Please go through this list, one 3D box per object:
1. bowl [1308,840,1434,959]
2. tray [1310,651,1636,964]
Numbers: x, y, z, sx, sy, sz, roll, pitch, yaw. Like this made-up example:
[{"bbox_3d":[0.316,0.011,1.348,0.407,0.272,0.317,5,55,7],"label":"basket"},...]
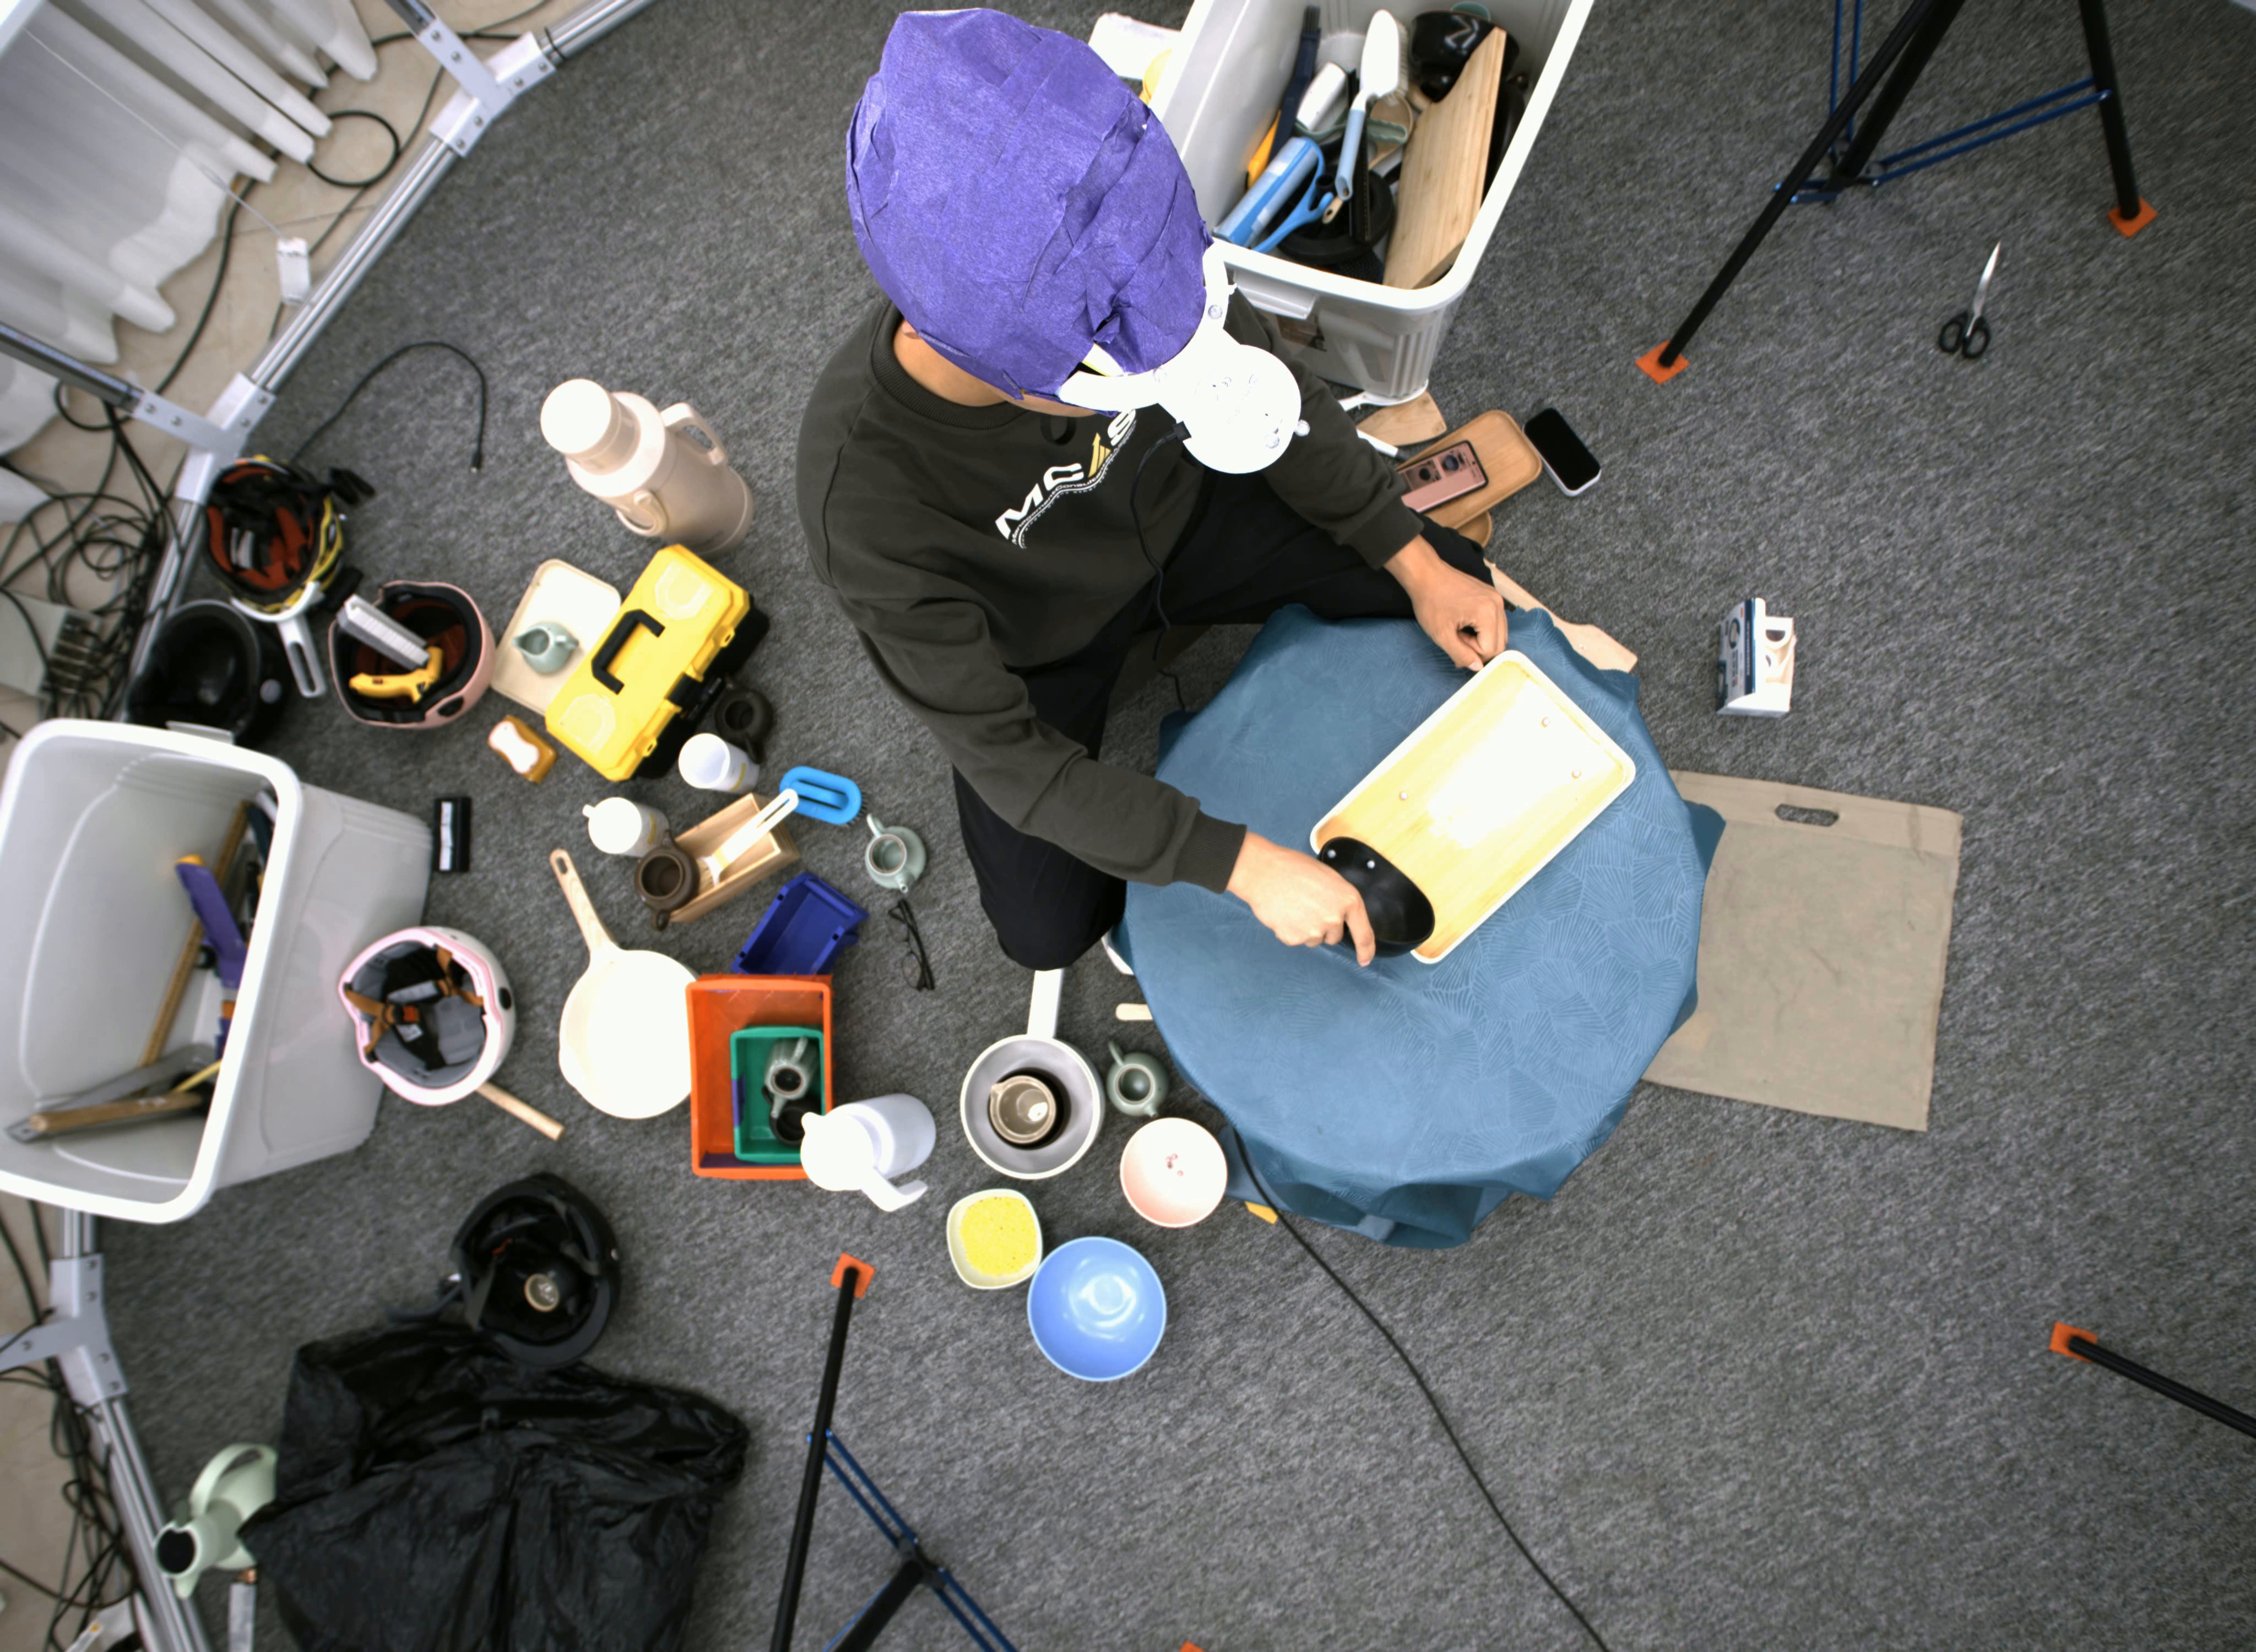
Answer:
[{"bbox_3d":[0.233,0.081,1.385,0.137,0.167,0.068,41,122,7],"label":"bowl"},{"bbox_3d":[0.357,-0.021,1.435,0.301,0.027,0.190,-44,80,6],"label":"tray"}]
